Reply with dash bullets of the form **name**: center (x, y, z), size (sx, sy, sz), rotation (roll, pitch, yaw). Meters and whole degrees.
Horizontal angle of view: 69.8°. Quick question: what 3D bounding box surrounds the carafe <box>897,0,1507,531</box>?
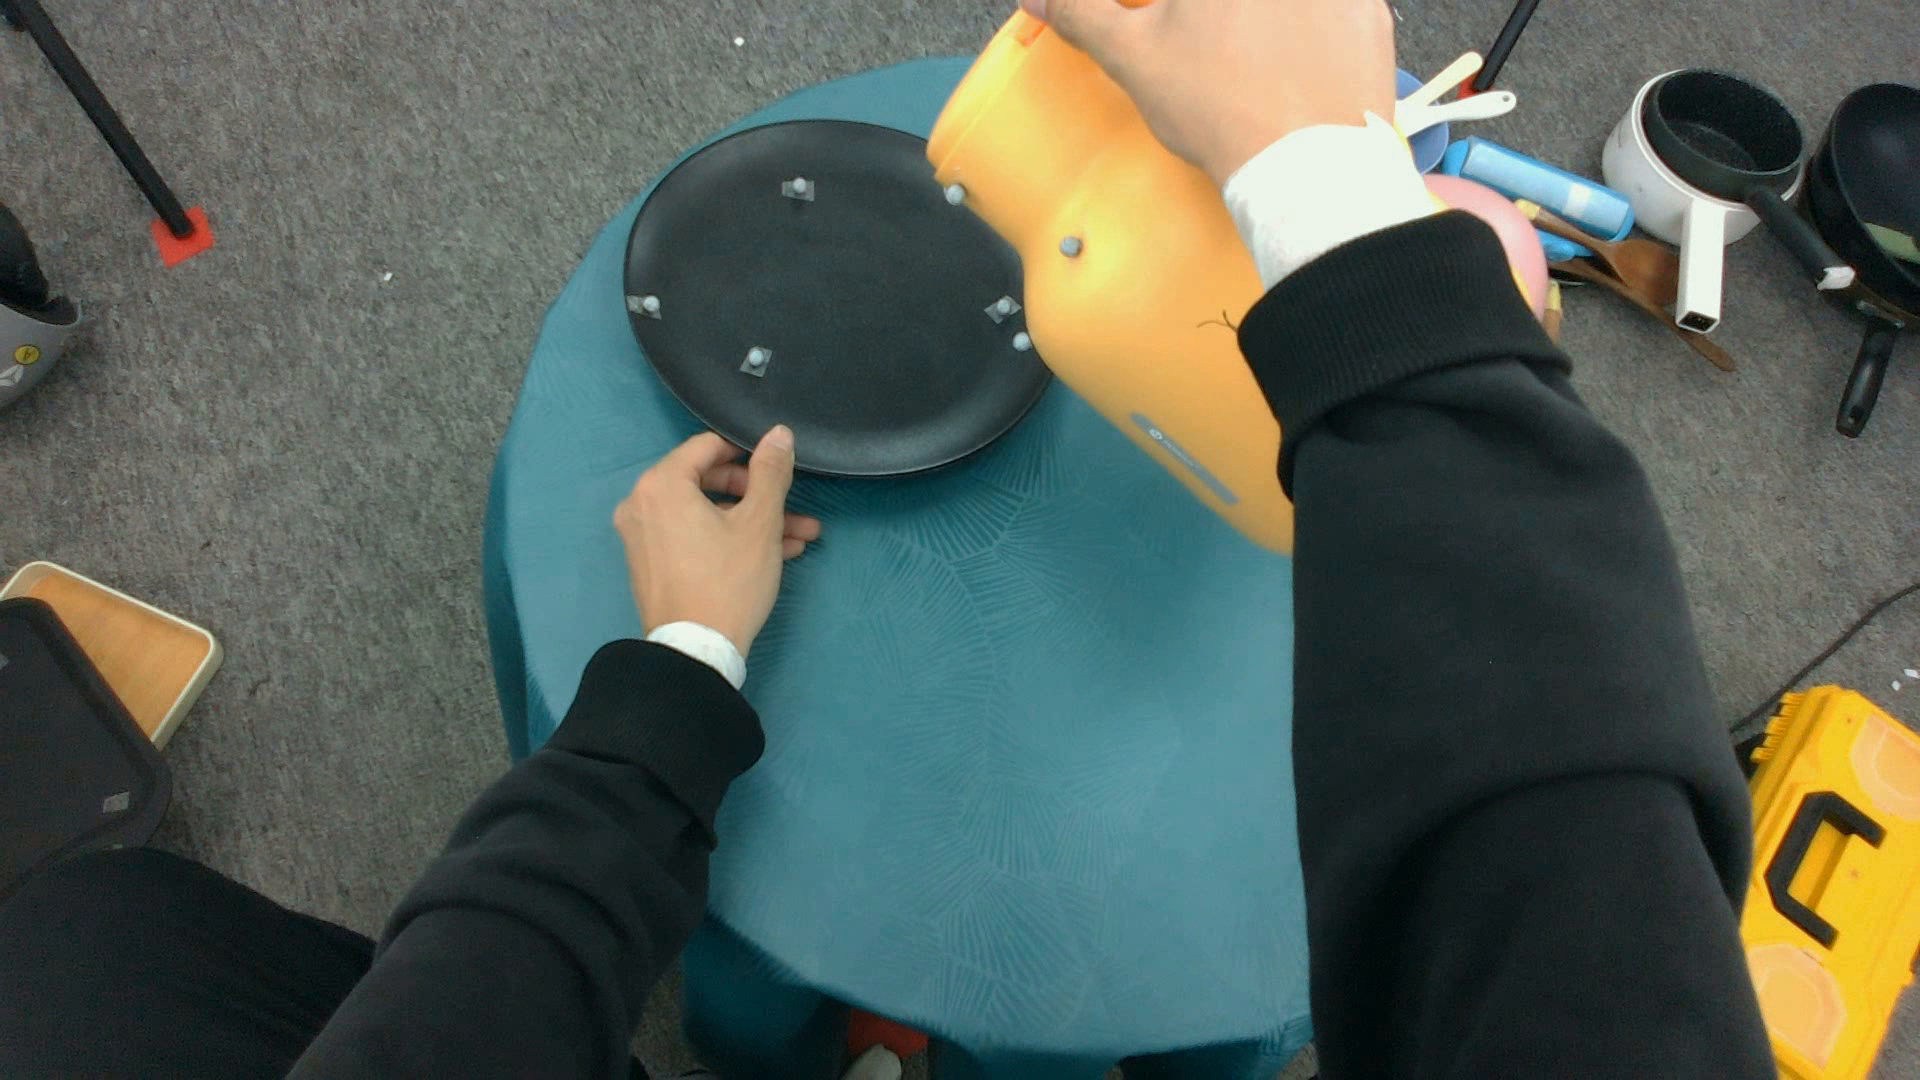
- **carafe**: center (0.101, -0.134, 0.586), size (0.260, 0.202, 0.164), rotation (36, 73, -7)

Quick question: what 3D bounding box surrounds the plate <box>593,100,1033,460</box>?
- **plate**: center (-0.077, -0.145, 0.760), size (0.244, 0.023, 0.245), rotation (5, 61, -10)
